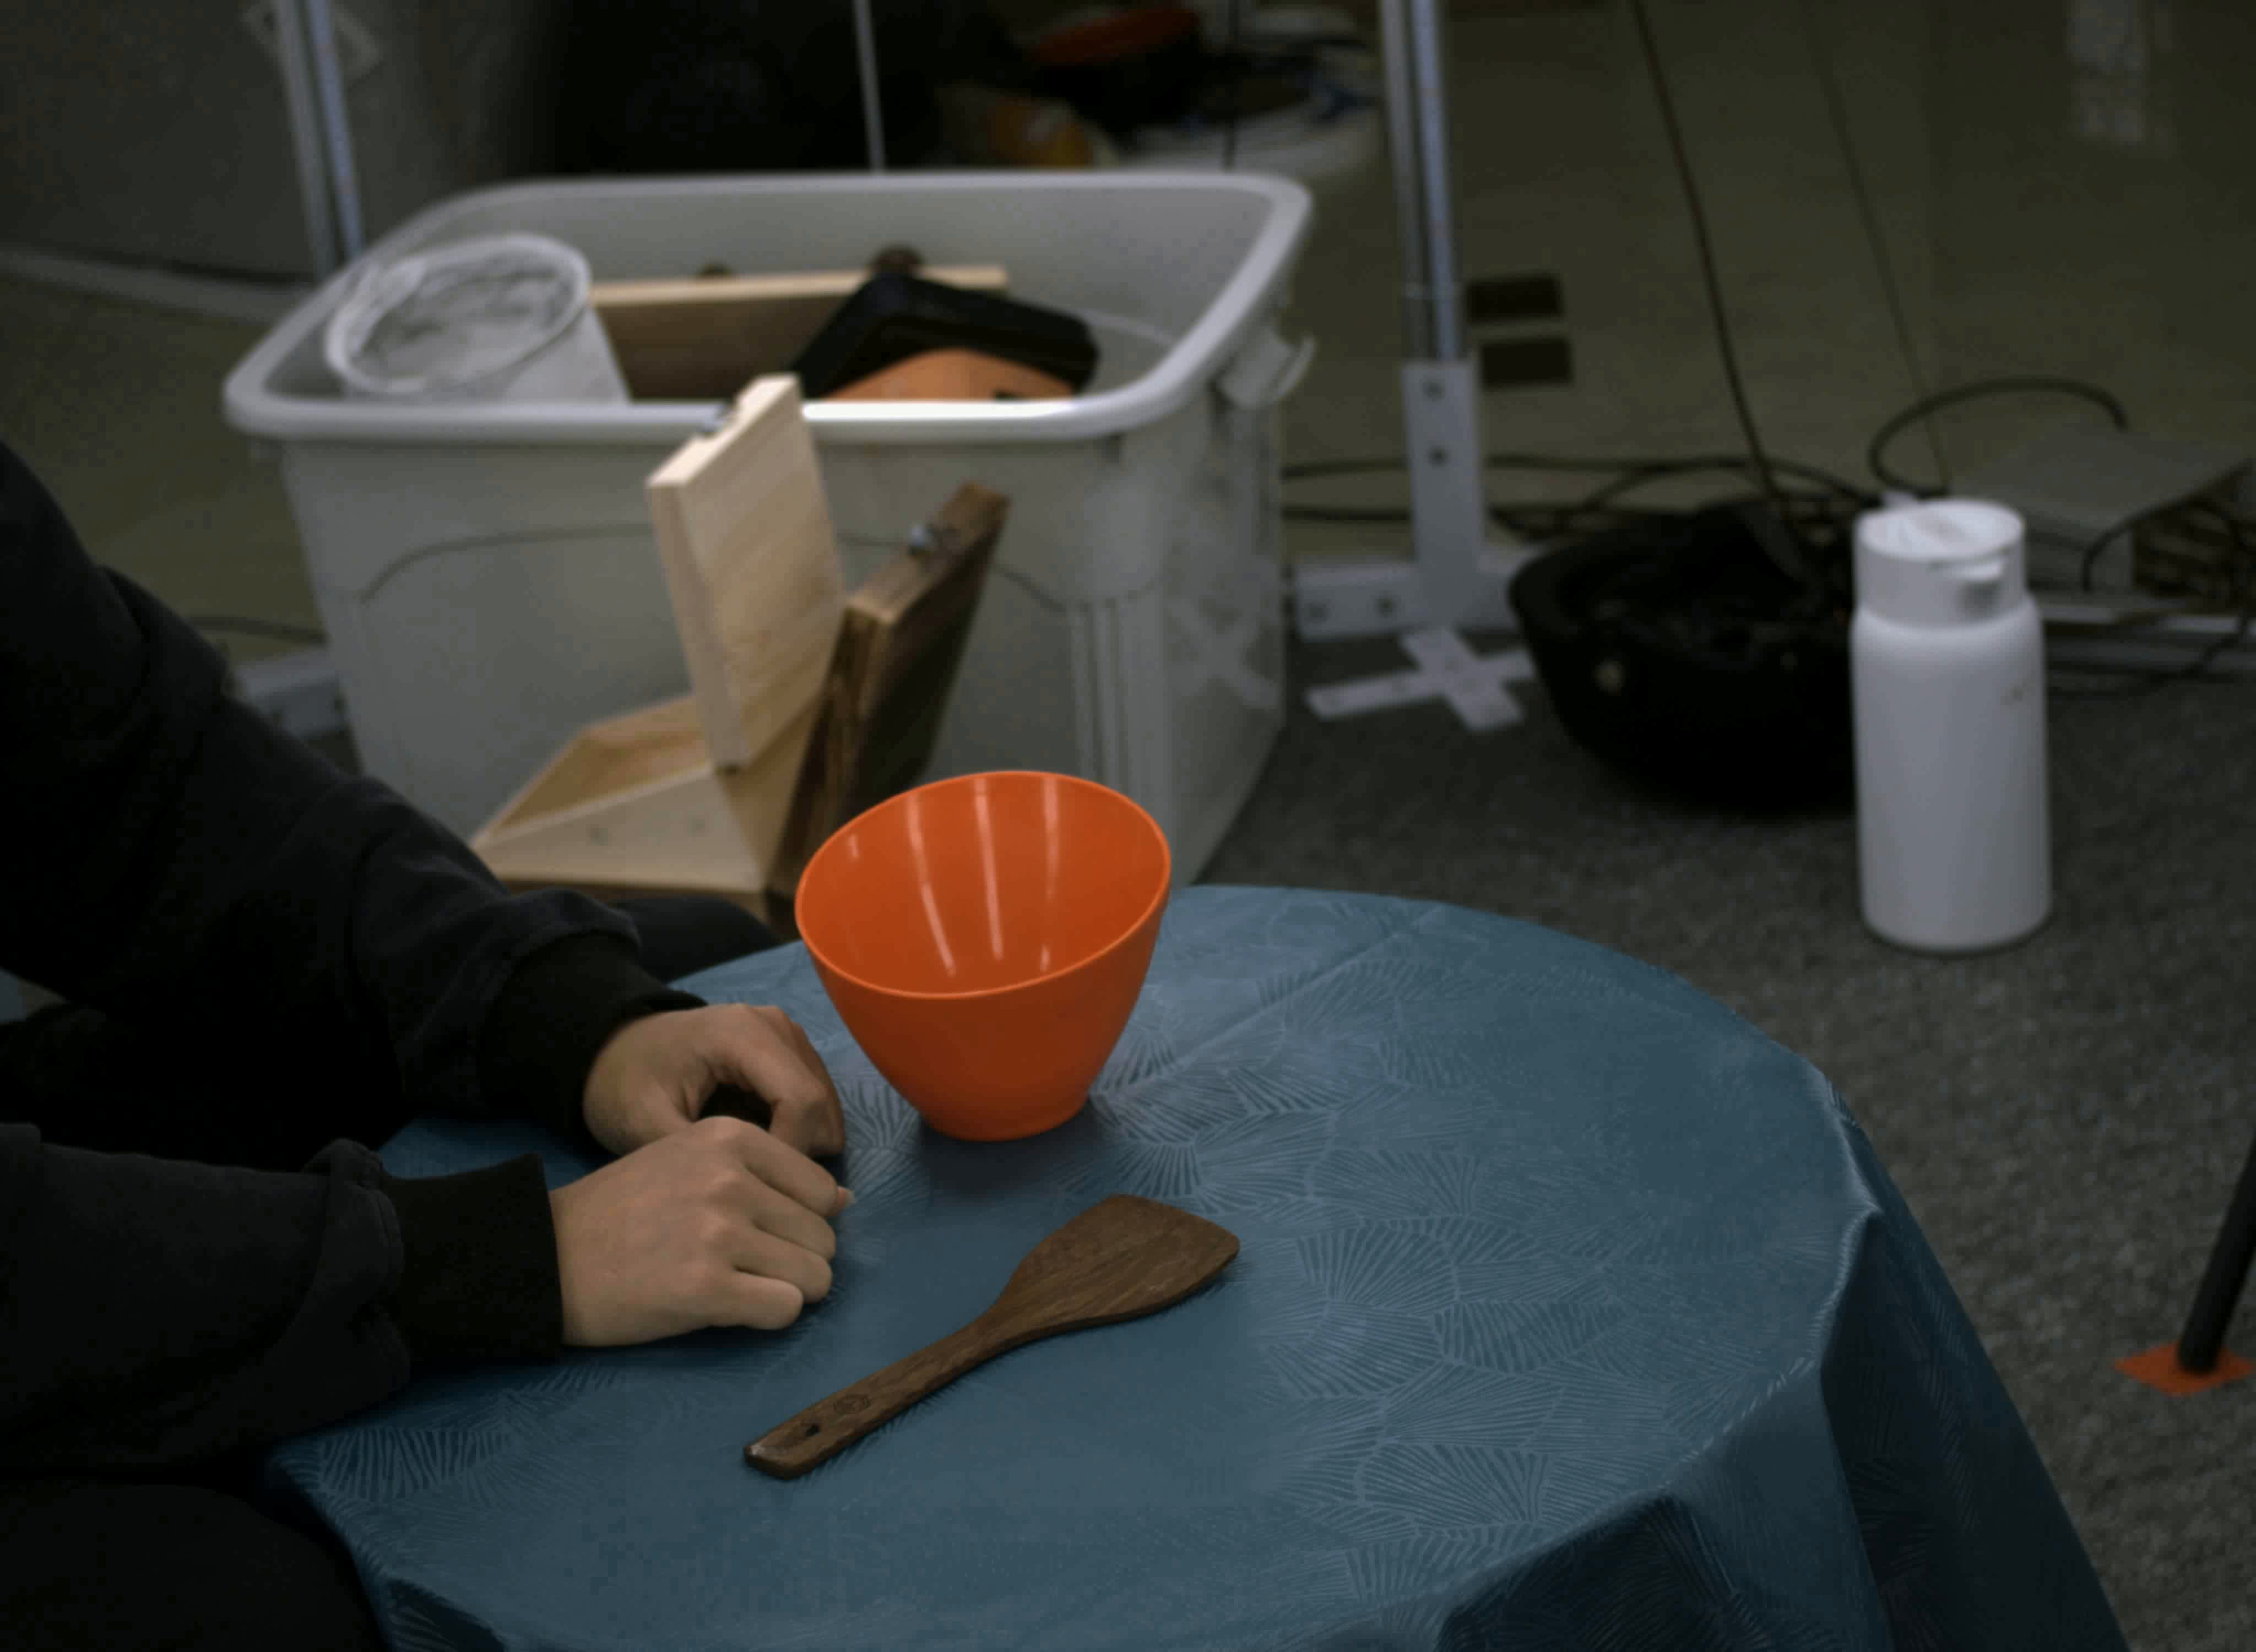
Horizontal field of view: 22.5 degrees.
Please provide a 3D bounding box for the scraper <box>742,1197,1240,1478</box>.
[{"bbox_3d":[-0.054,0.187,2.054,0.209,0.011,0.075,-27,31,-35],"label":"scraper"}]

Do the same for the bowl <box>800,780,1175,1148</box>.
[{"bbox_3d":[-0.051,0.060,2.214,0.148,0.106,0.146,-5,25,2],"label":"bowl"}]
